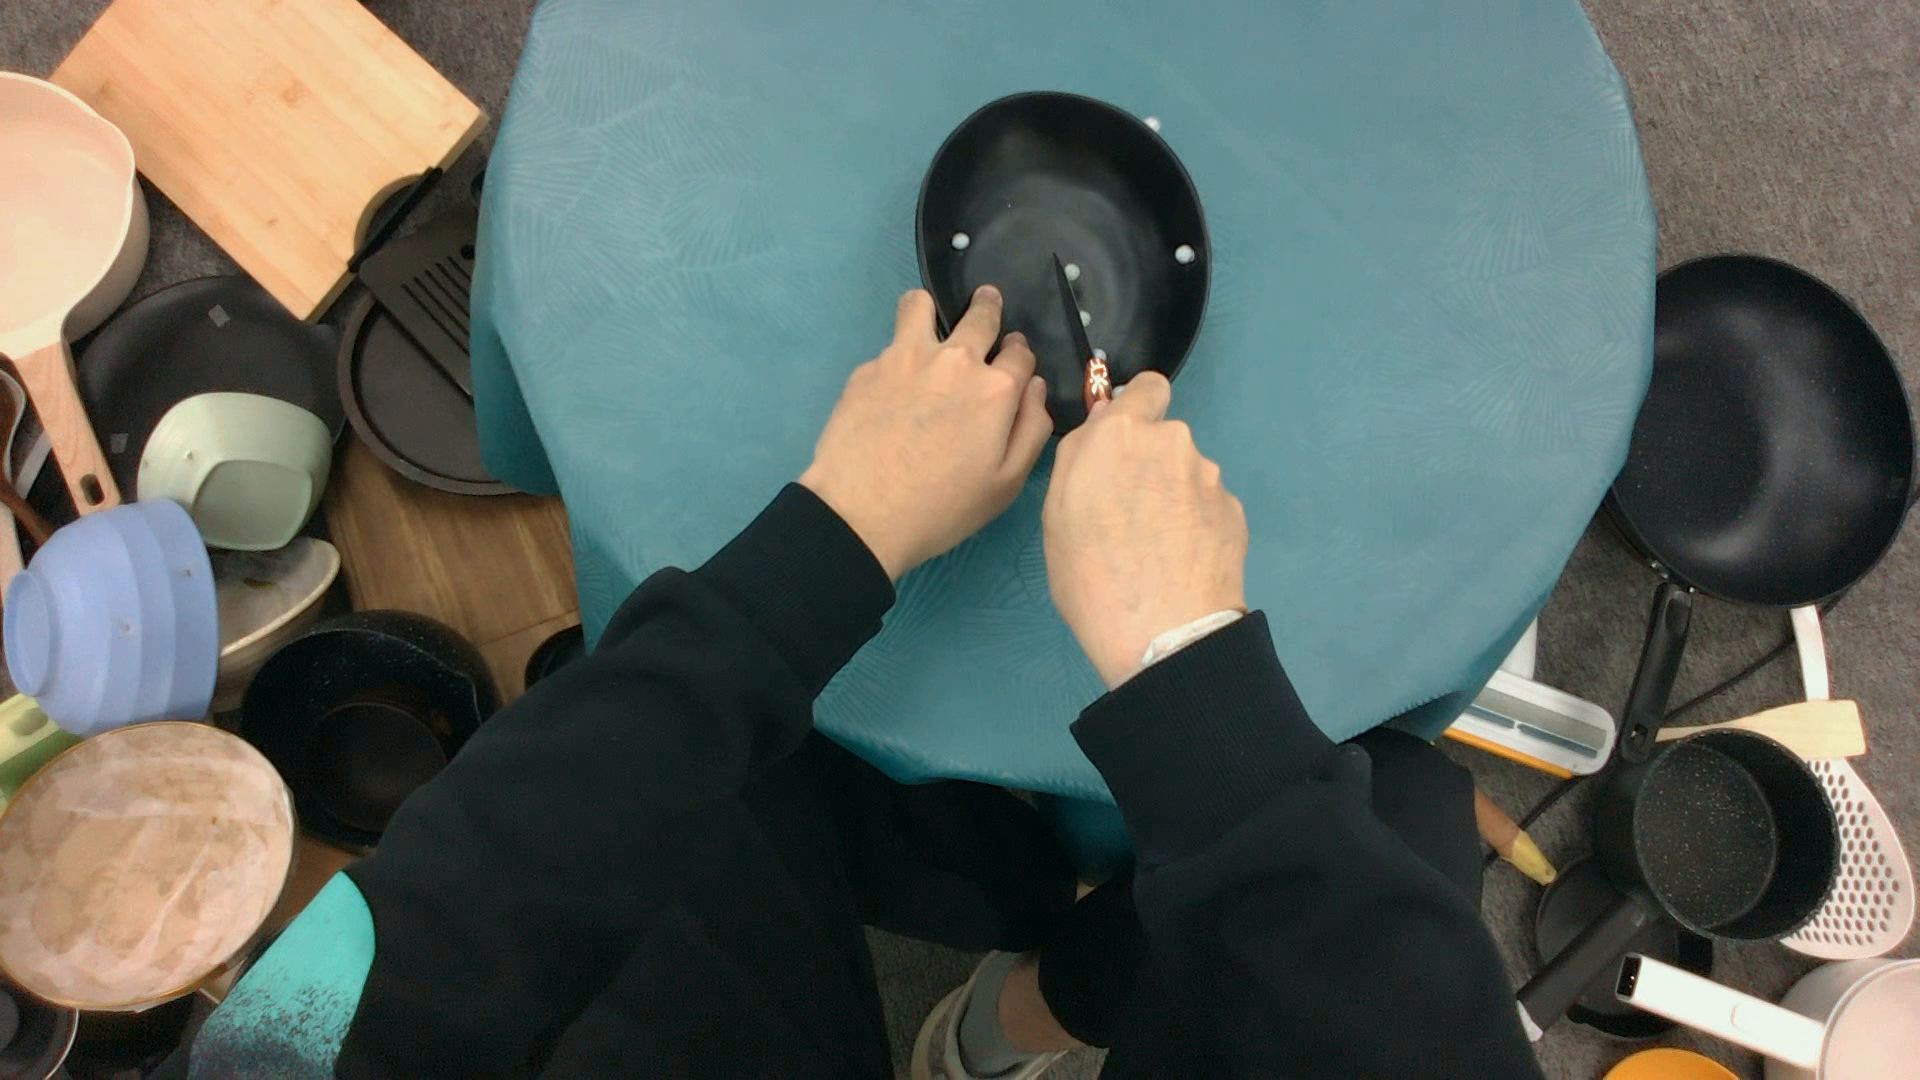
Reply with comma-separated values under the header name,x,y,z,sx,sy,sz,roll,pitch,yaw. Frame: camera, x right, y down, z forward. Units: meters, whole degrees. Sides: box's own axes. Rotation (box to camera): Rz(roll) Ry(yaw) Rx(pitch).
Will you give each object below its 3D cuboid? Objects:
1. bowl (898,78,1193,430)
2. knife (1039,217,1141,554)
name,x,y,z,sx,sy,sz,roll,pitch,yaw
bowl,0.039,-0.133,0.664,0.137,0.066,0.170,-11,81,-7
knife,0.052,-0.077,0.604,0.017,0.026,0.226,-2,43,-7
